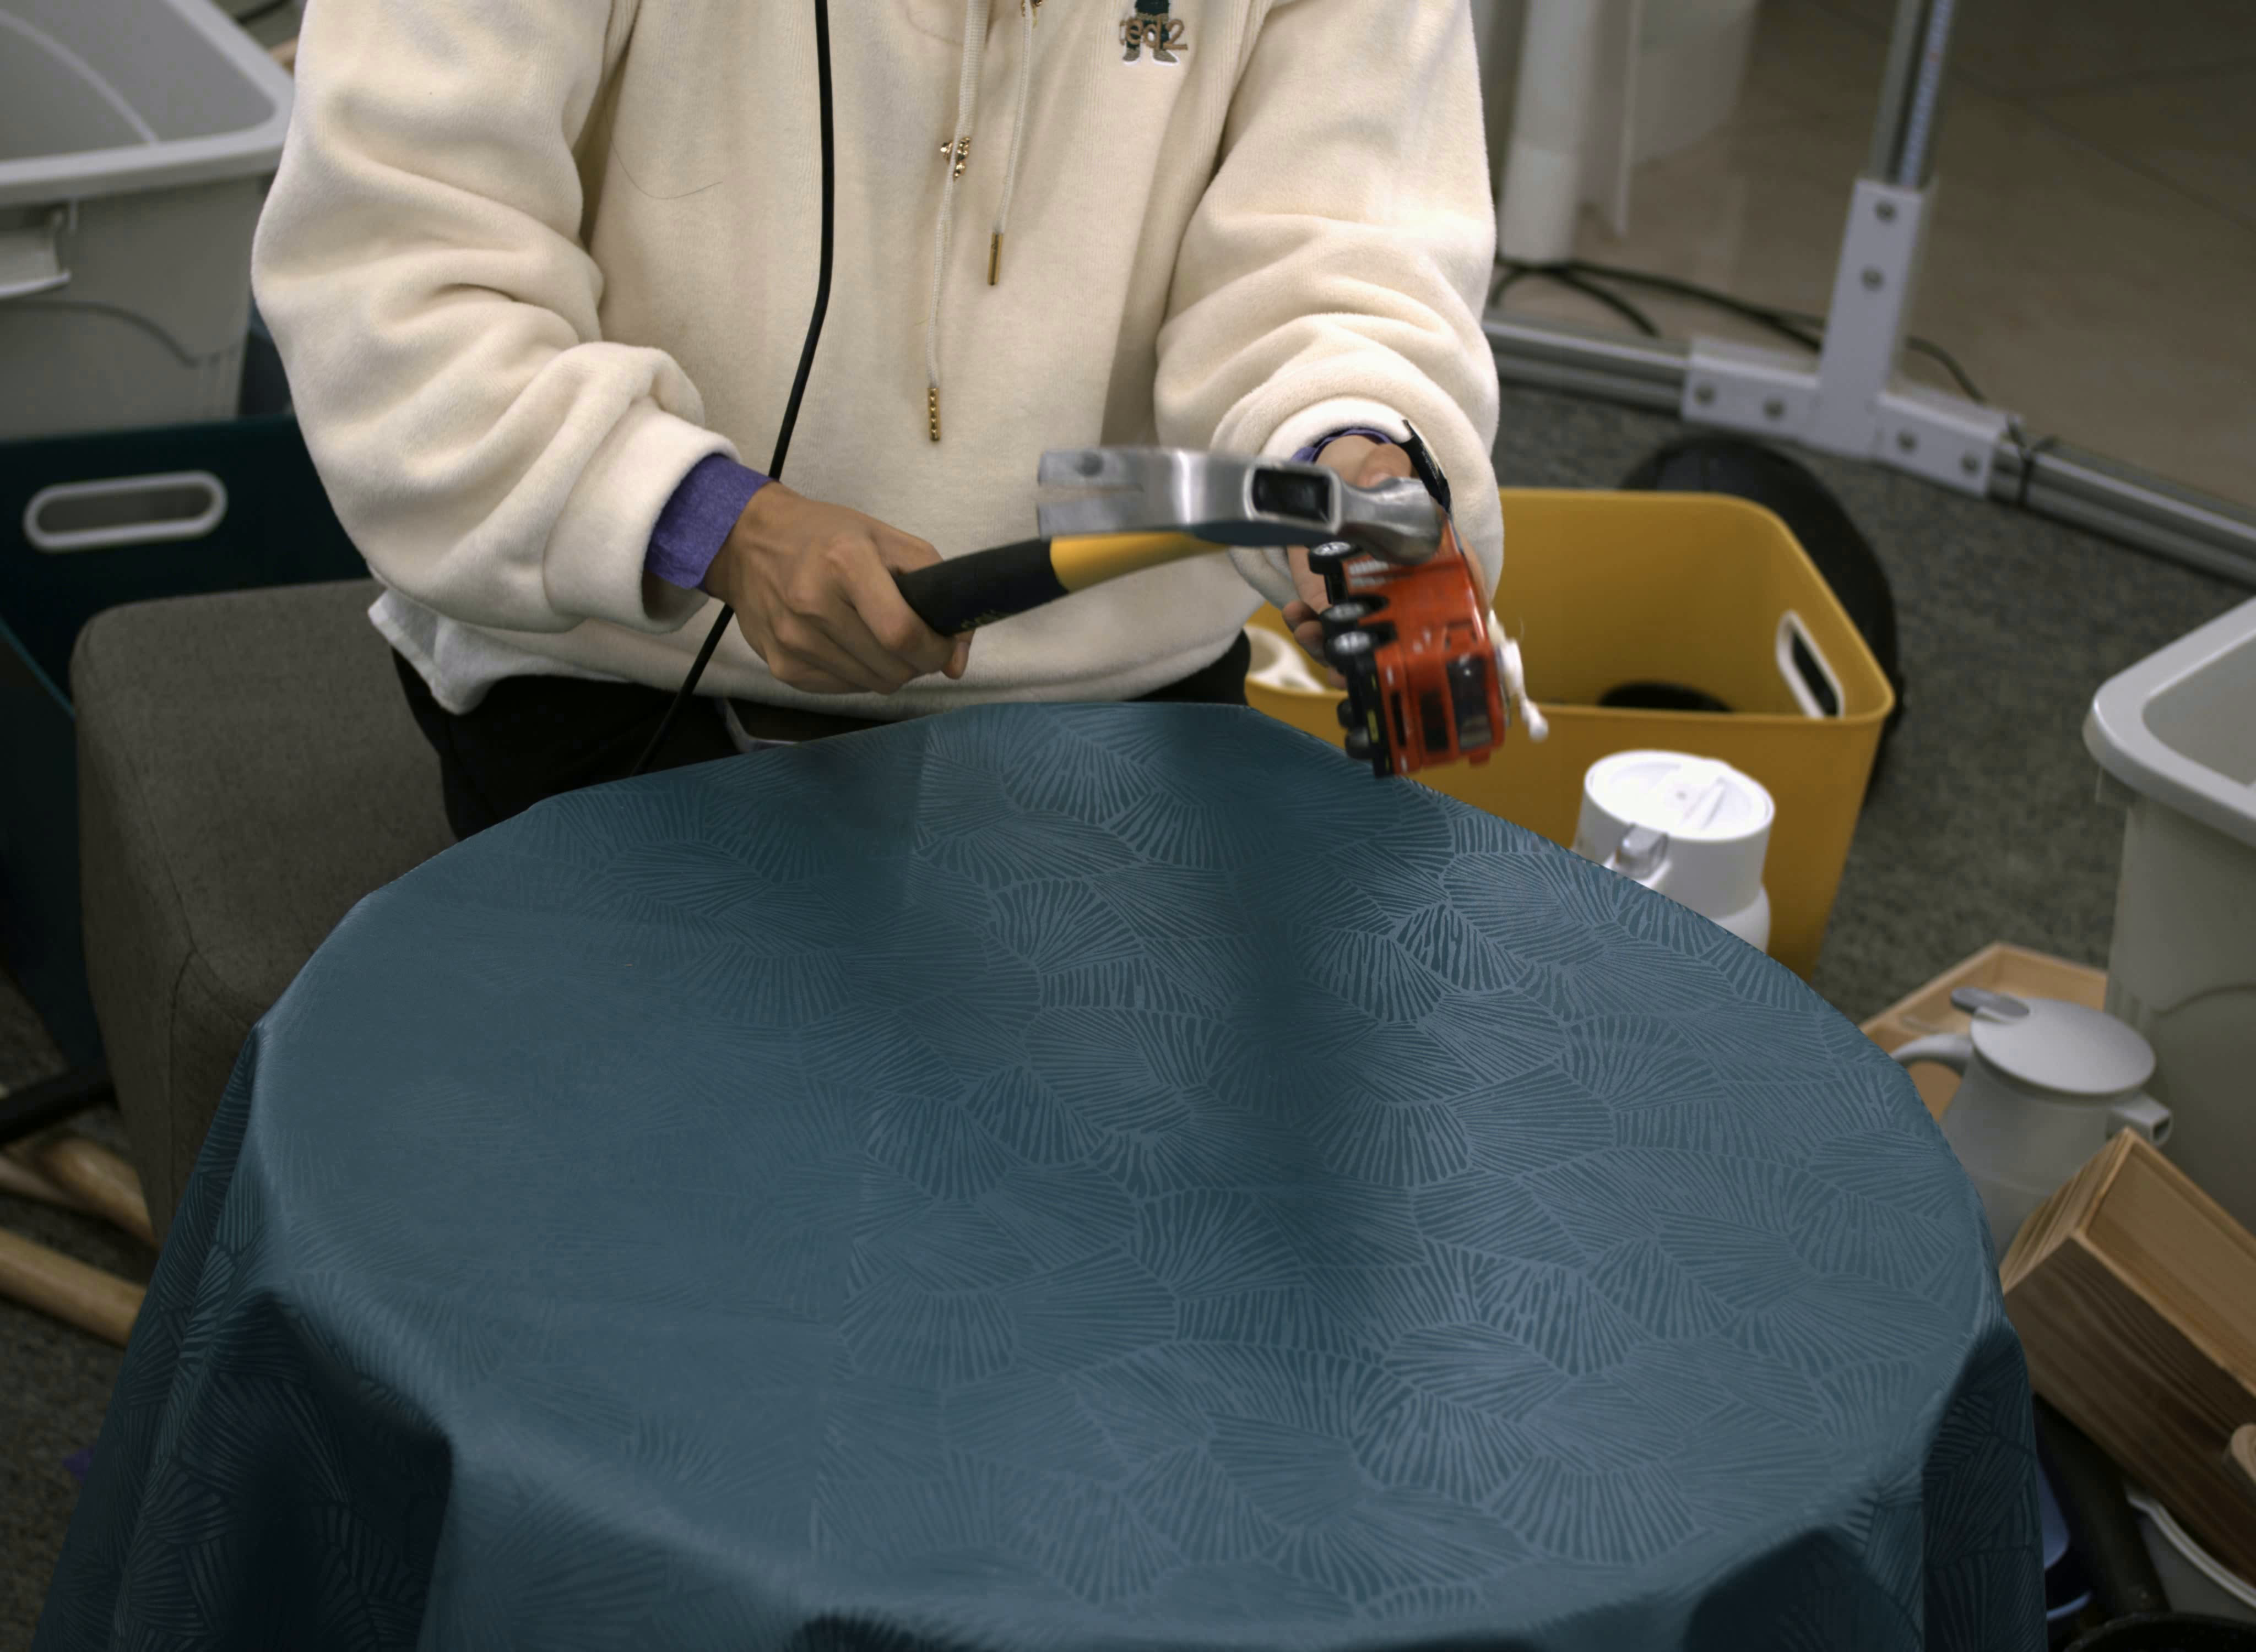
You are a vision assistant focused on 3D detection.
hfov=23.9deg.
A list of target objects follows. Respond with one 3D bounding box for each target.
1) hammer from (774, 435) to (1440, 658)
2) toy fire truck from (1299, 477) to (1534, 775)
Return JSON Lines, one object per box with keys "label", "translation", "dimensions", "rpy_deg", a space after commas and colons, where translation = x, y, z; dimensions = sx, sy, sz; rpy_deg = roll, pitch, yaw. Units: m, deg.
{"label": "hammer", "translation": [-0.035, -0.098, 1.930], "dimensions": [0.130, 0.032, 0.339], "rpy_deg": [7, -10, -31]}
{"label": "toy fire truck", "translation": [0.097, -0.070, 1.841], "dimensions": [0.070, 0.054, 0.169], "rpy_deg": [-11, 23, 2]}
